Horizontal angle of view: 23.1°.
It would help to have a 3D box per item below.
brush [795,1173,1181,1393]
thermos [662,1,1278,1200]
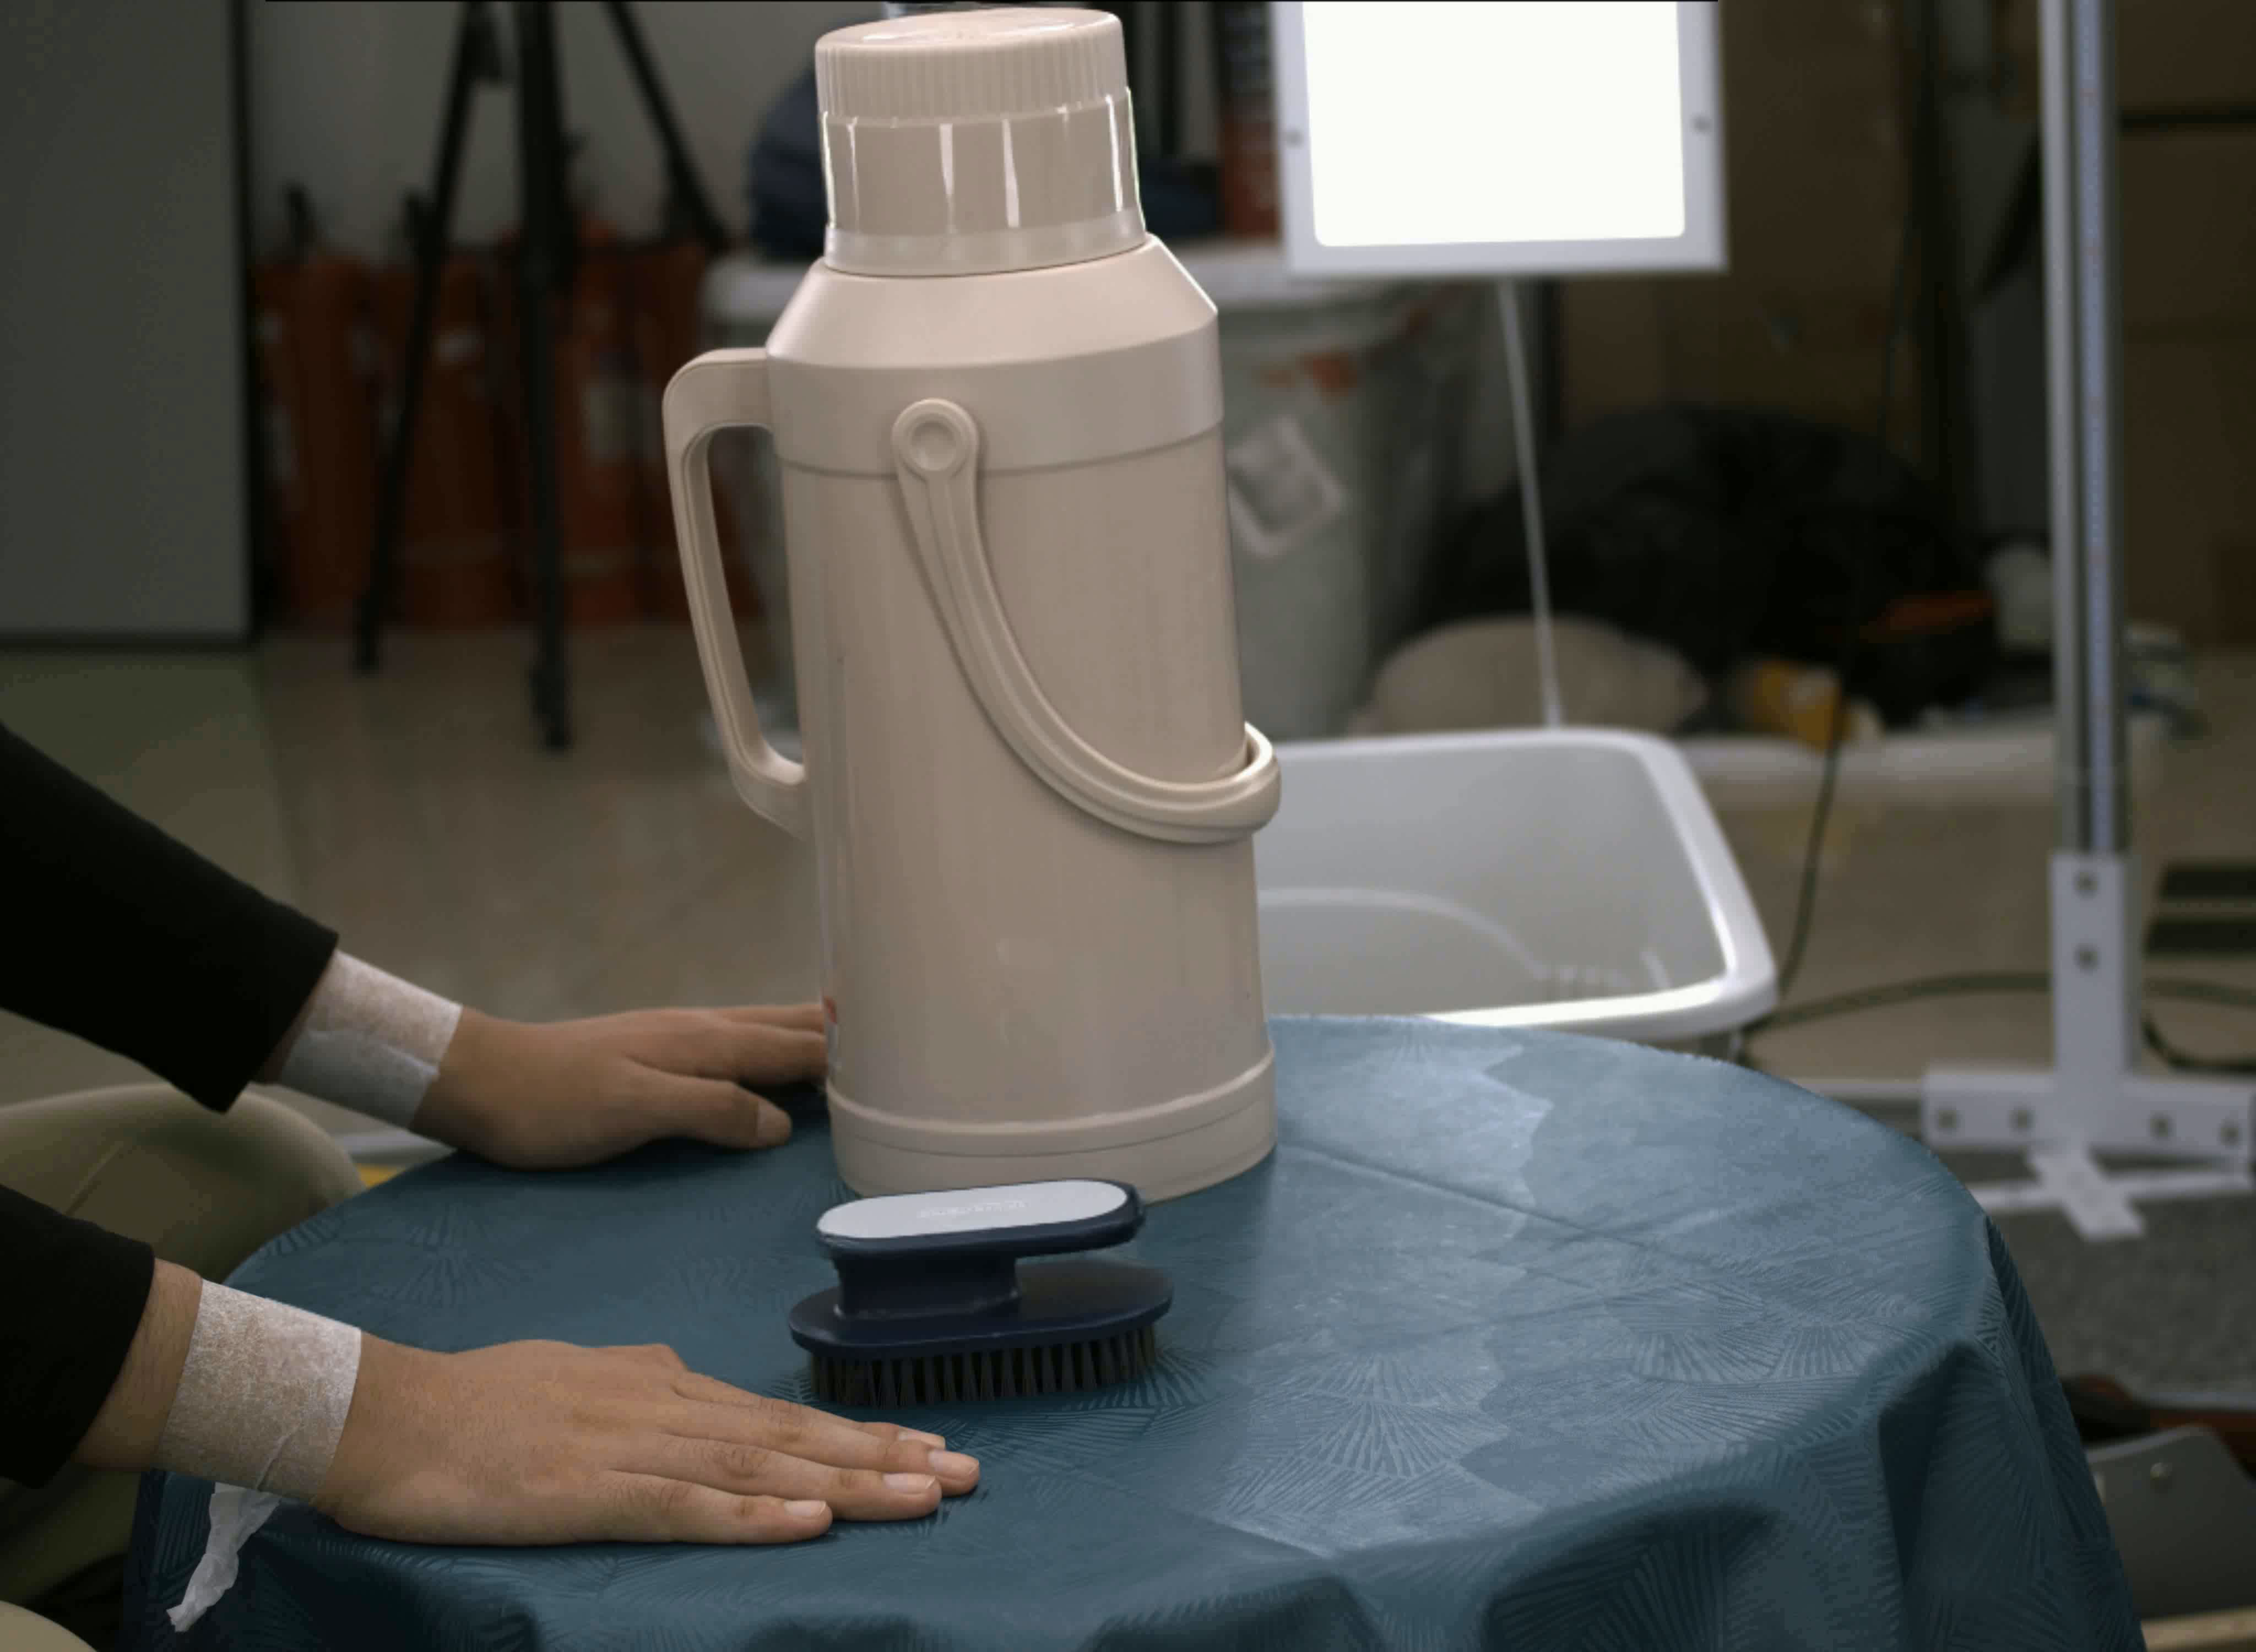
[{"bbox_3d":[-0.044,0.145,1.723,0.121,0.061,0.068,-4,11,1],"label":"brush"},{"bbox_3d":[-0.054,-0.077,1.913,0.209,0.408,0.173,-1,16,14],"label":"thermos"}]
